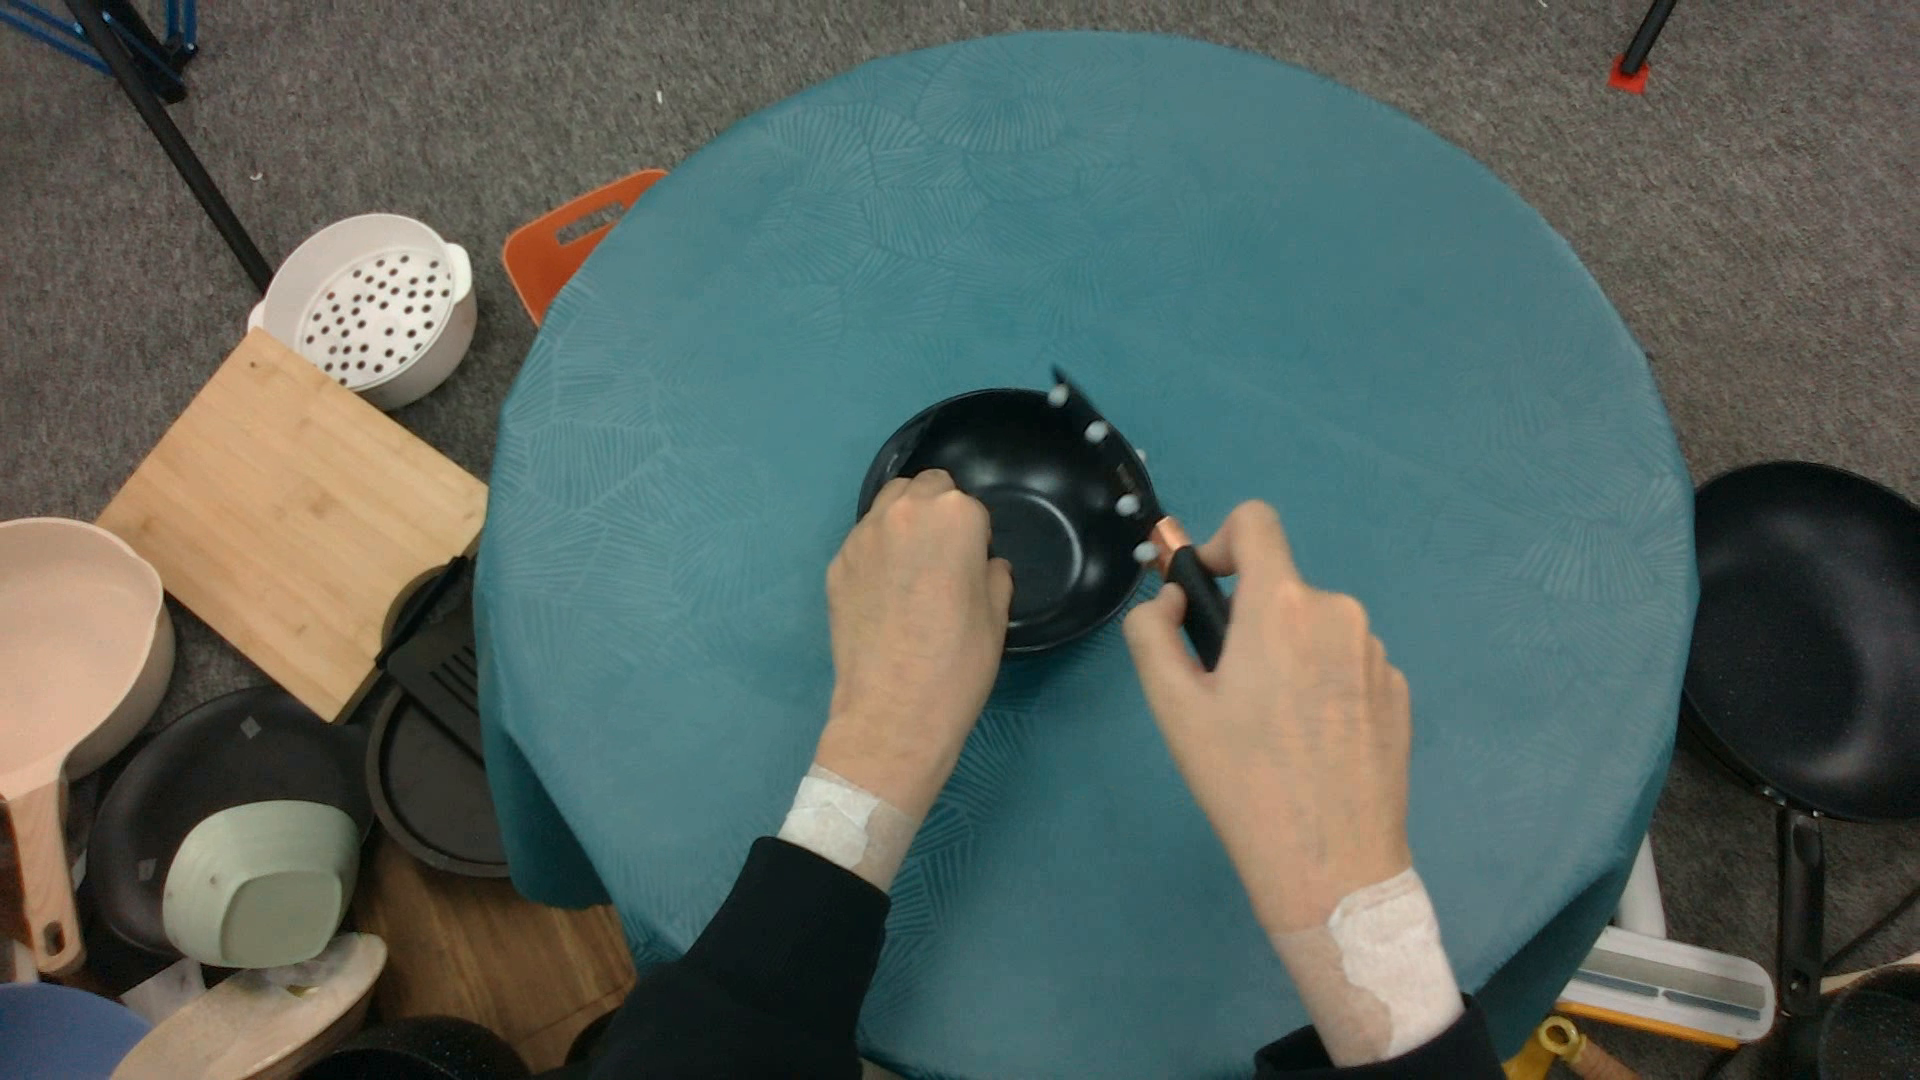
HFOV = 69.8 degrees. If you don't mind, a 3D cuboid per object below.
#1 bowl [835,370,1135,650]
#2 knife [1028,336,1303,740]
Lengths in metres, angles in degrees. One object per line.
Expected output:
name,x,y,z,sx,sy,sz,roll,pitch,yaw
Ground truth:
bowl,0.011,-0.009,0.653,0.140,0.049,0.140,1,67,-1
knife,0.075,-0.012,0.551,0.017,0.026,0.226,2,46,-34
